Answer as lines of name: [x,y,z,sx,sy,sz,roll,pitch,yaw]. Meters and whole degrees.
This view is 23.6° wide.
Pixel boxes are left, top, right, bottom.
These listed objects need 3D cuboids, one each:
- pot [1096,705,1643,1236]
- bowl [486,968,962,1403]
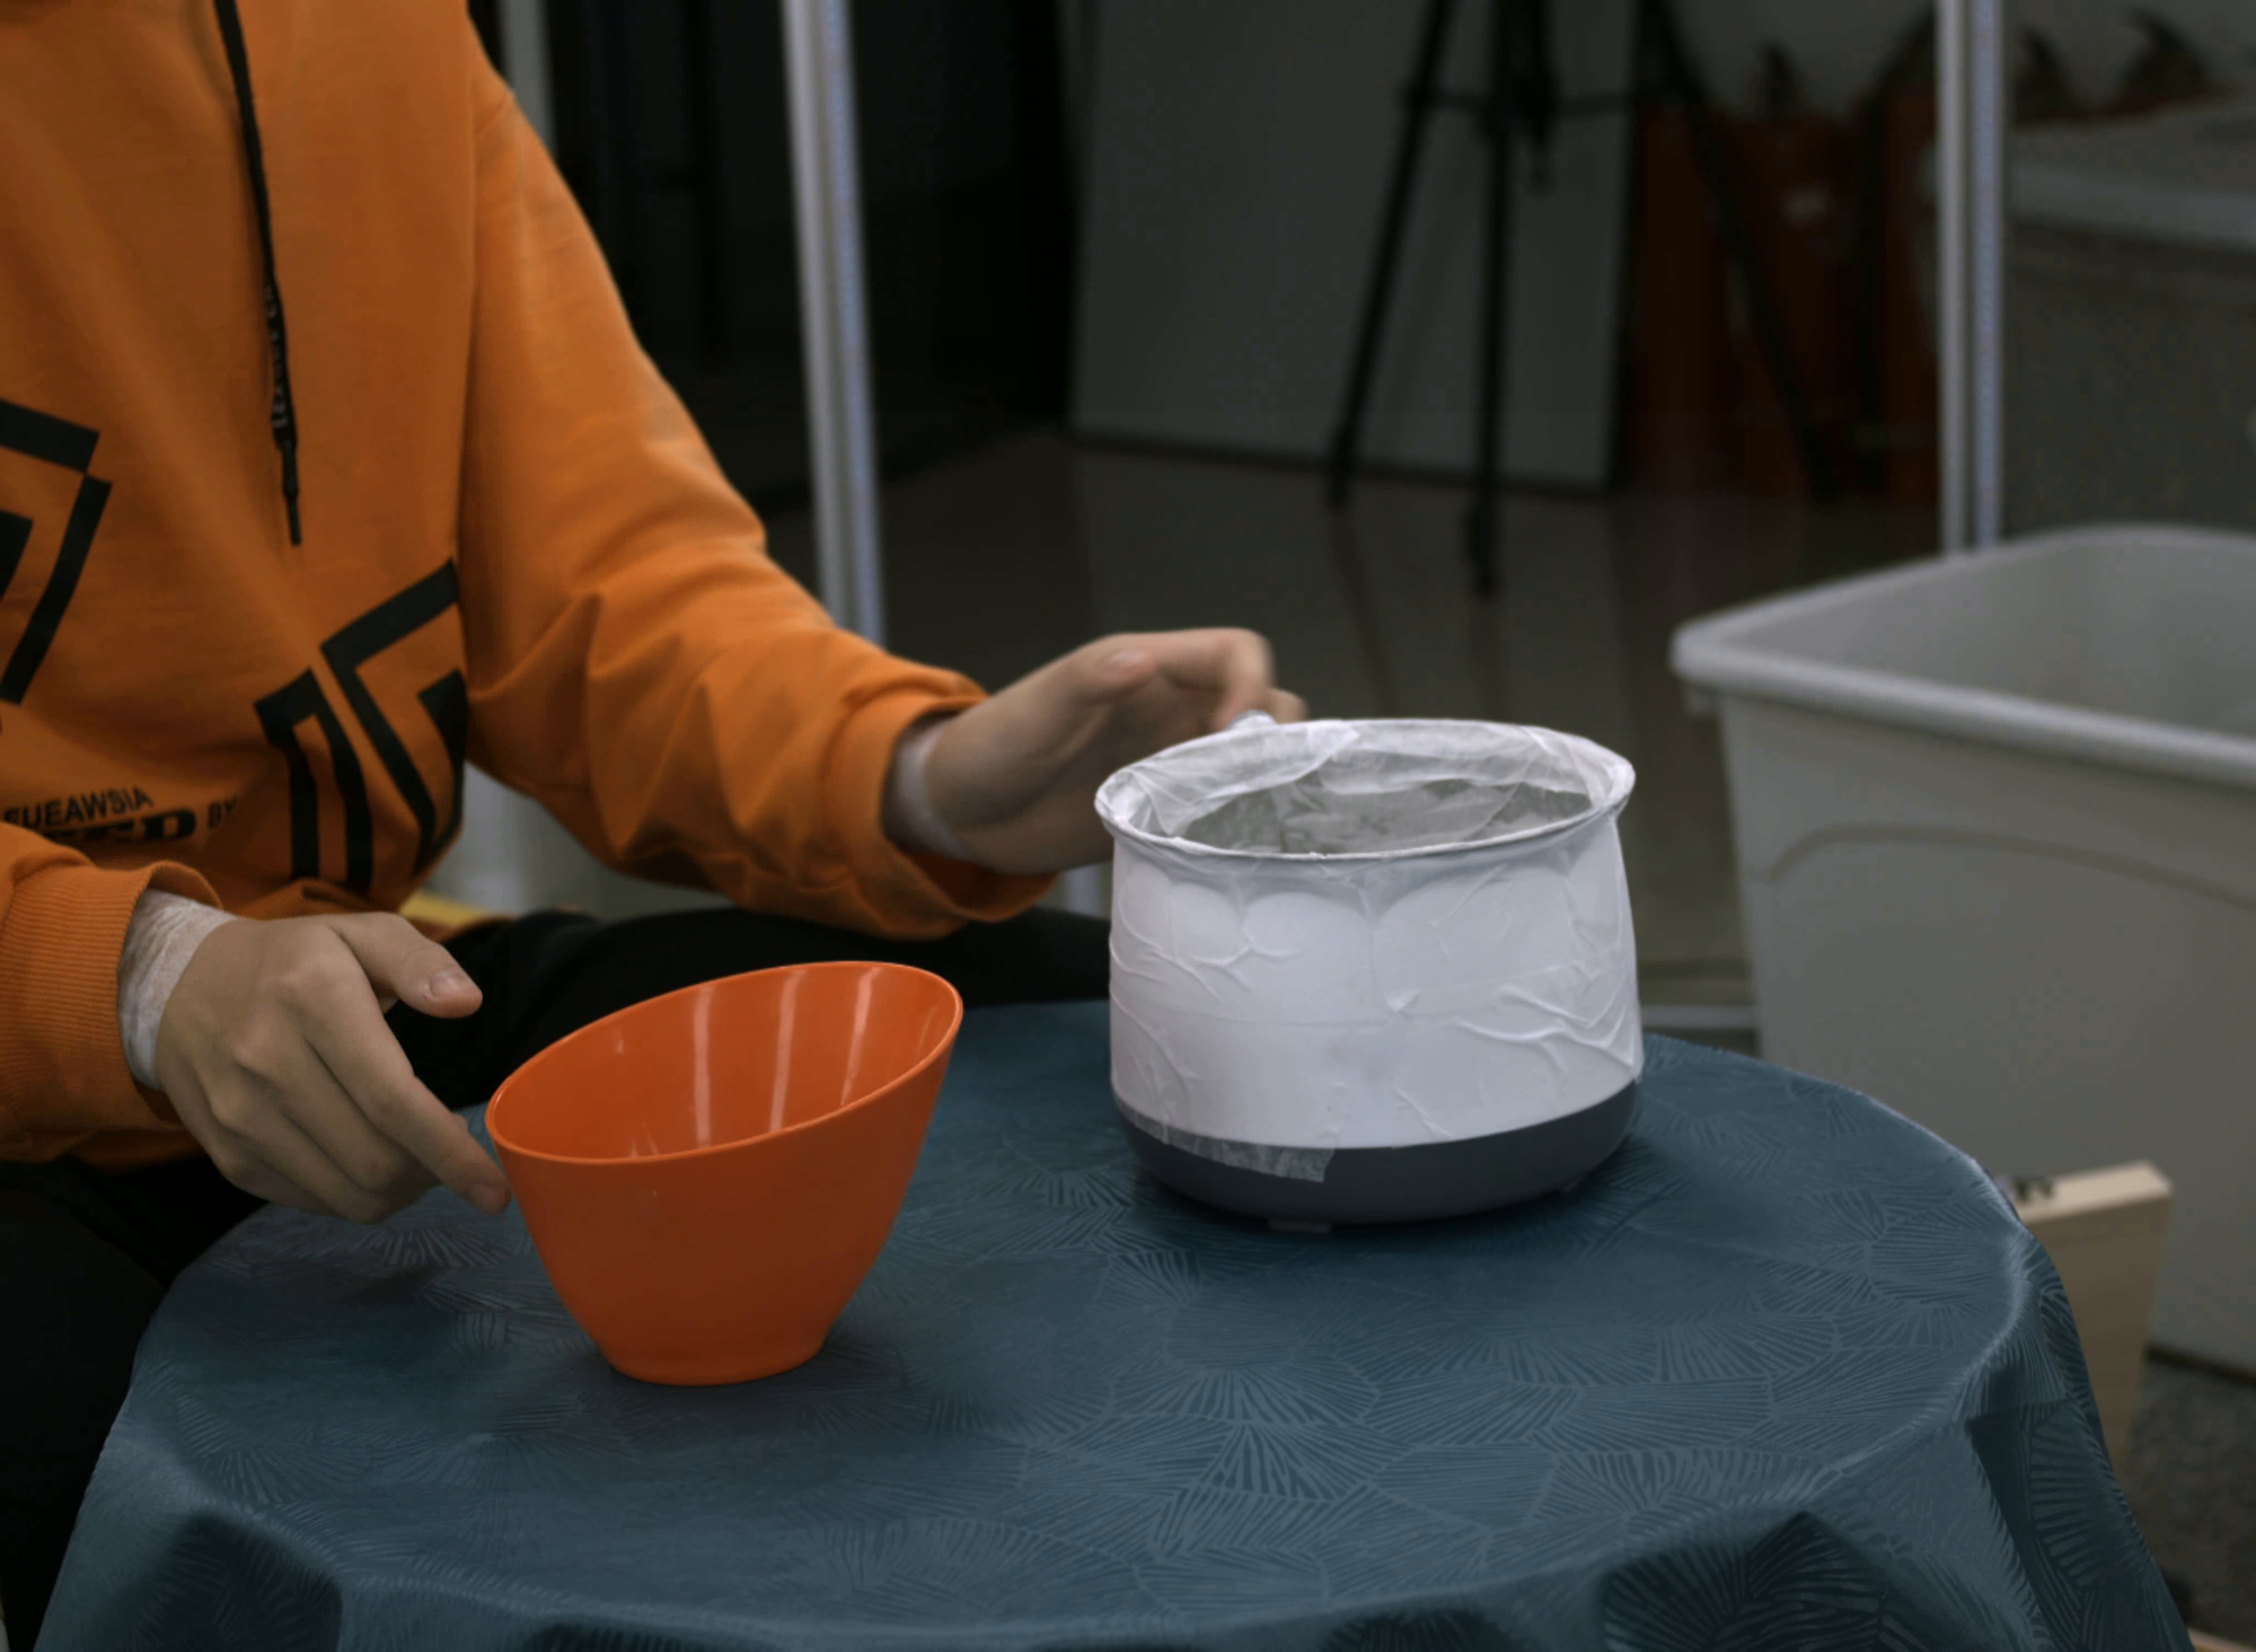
pot: [0.070,0.041,1.786,0.175,0.138,0.236,-8,14,-19]
bowl: [-0.118,0.112,1.638,0.146,0.106,0.148,-5,14,0]
